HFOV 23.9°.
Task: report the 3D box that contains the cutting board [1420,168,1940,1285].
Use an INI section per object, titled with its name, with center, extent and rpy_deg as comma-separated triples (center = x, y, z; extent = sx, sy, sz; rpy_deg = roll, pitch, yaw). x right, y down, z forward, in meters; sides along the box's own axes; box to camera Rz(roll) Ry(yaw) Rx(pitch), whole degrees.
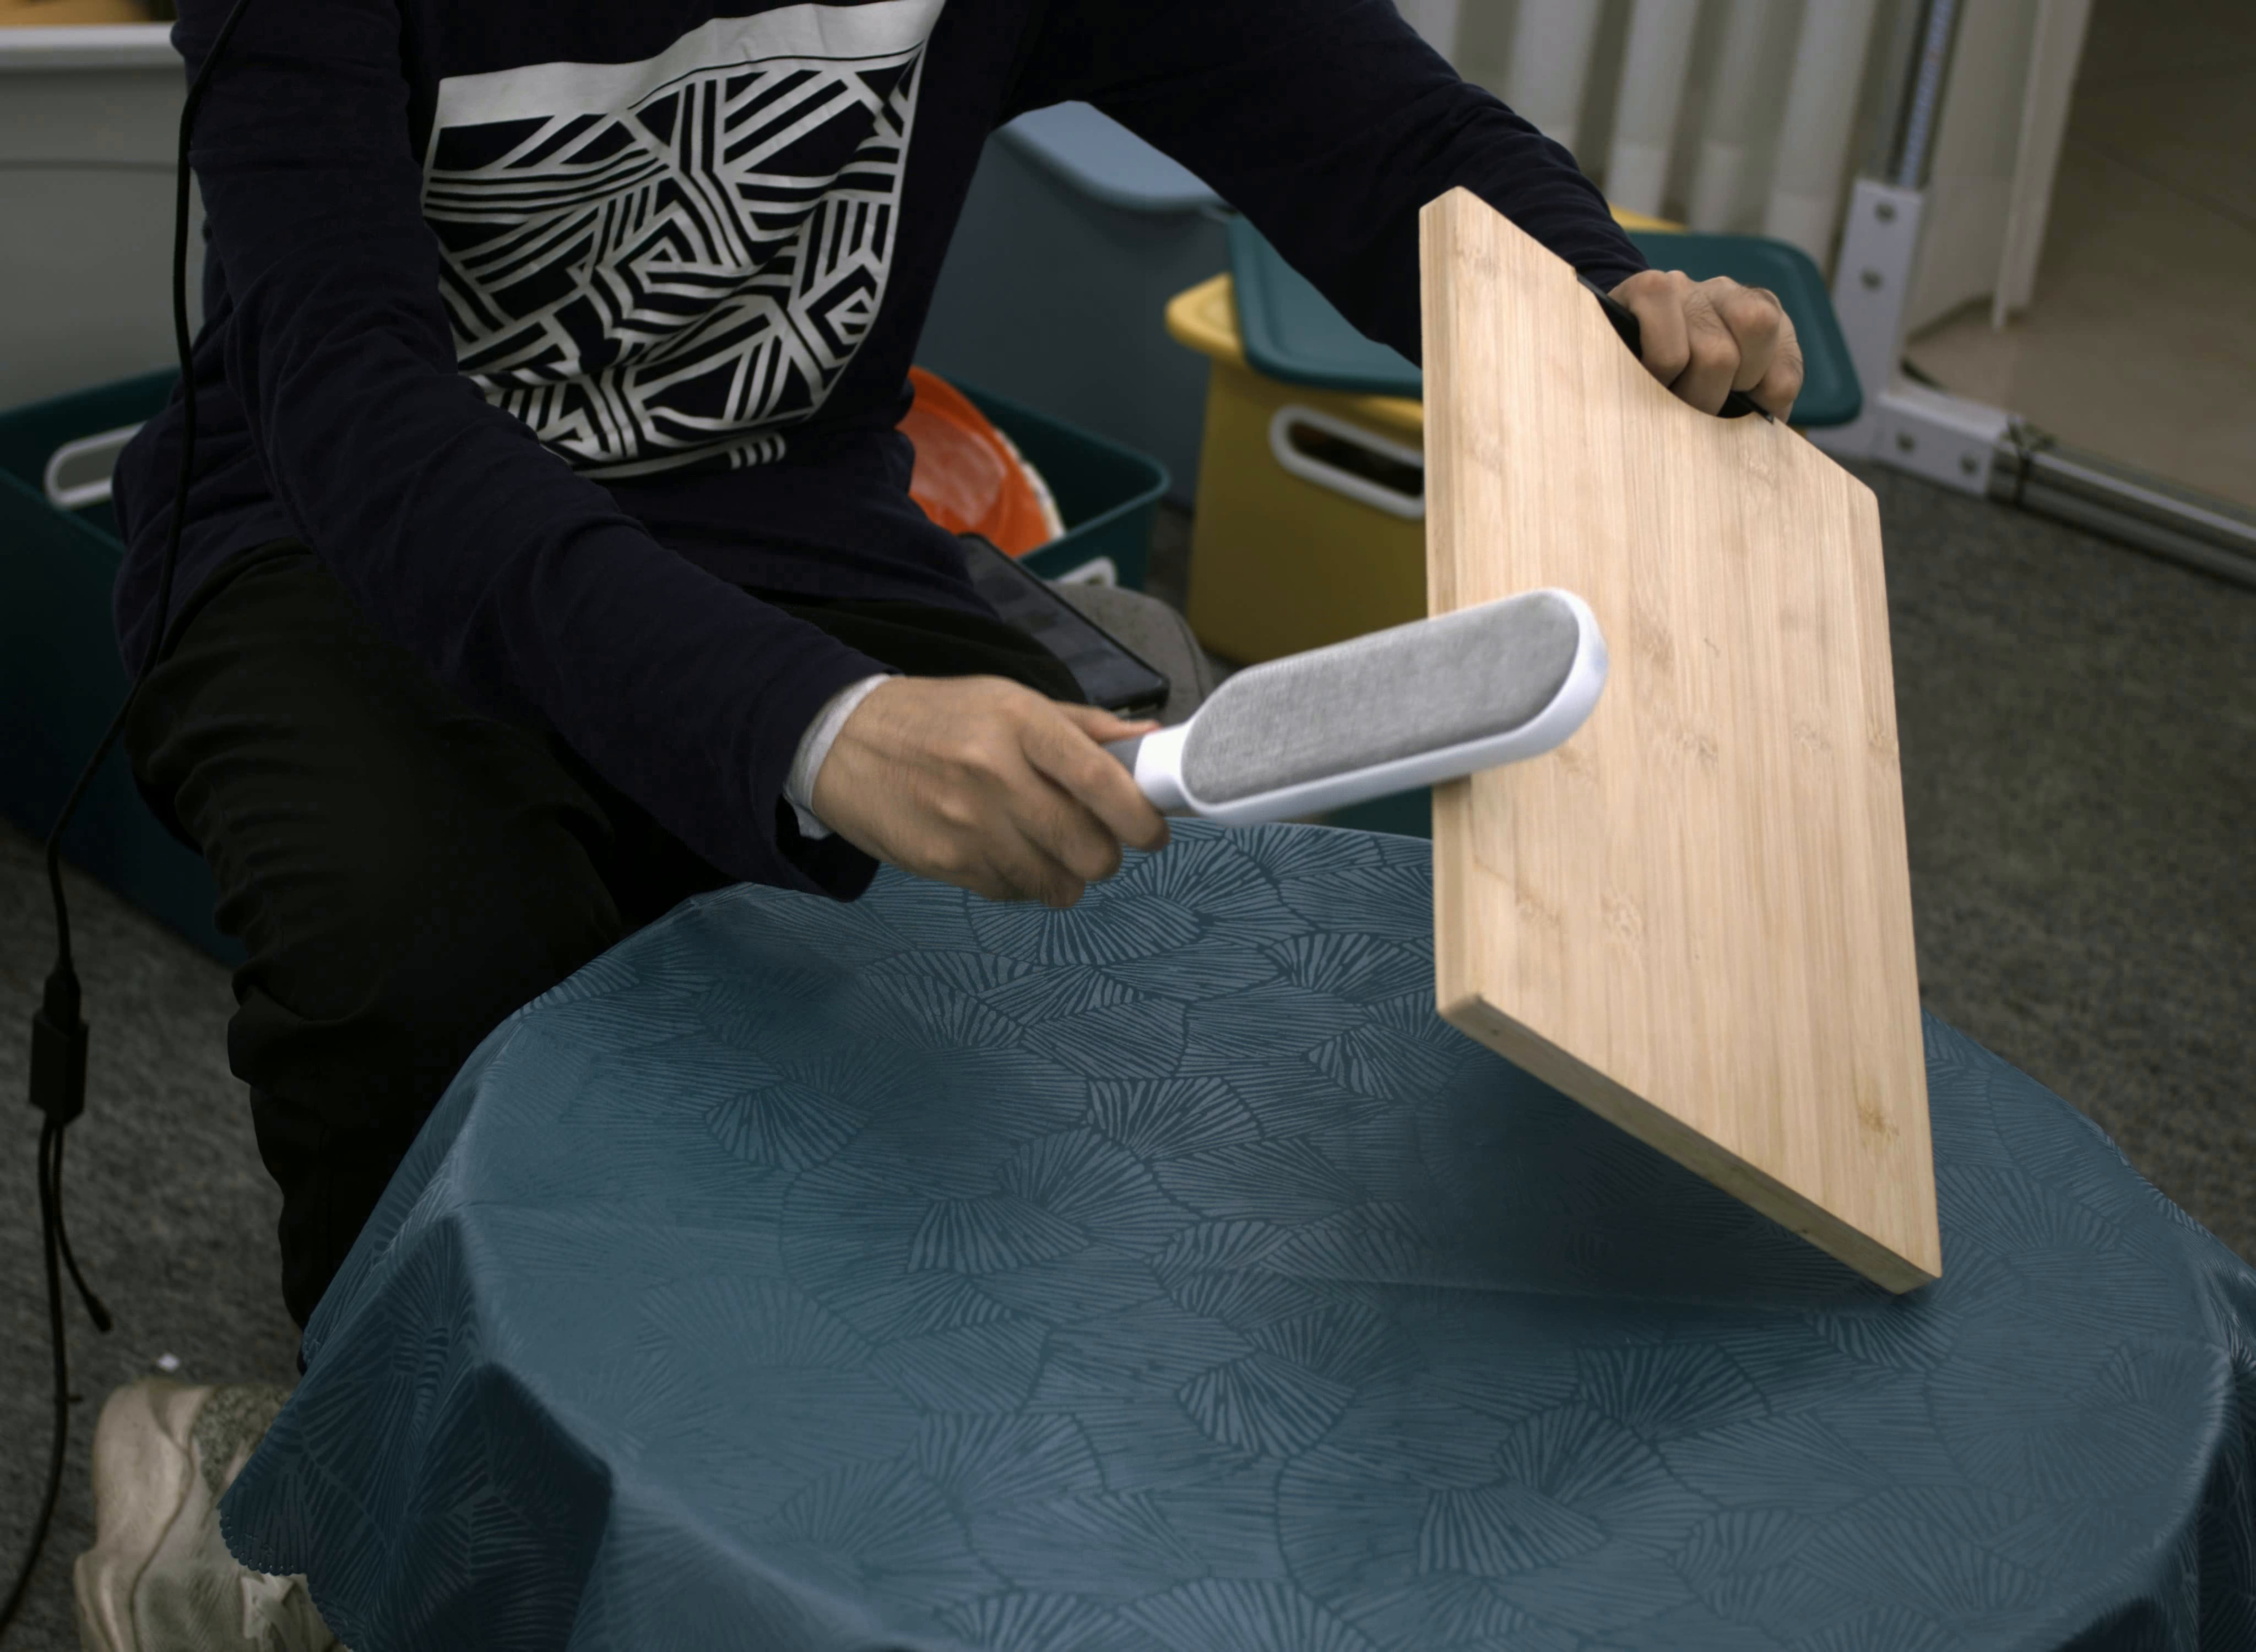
[cutting board]
center = 0.187, -0.037, 1.829
extent = 0.248, 0.023, 0.351
rpy_deg = 31, 45, -36

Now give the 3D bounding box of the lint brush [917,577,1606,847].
[lint brush]
center = 0.038, -0.031, 1.771
extent = 0.310, 0.060, 0.021
rpy_deg = -14, -31, 44
